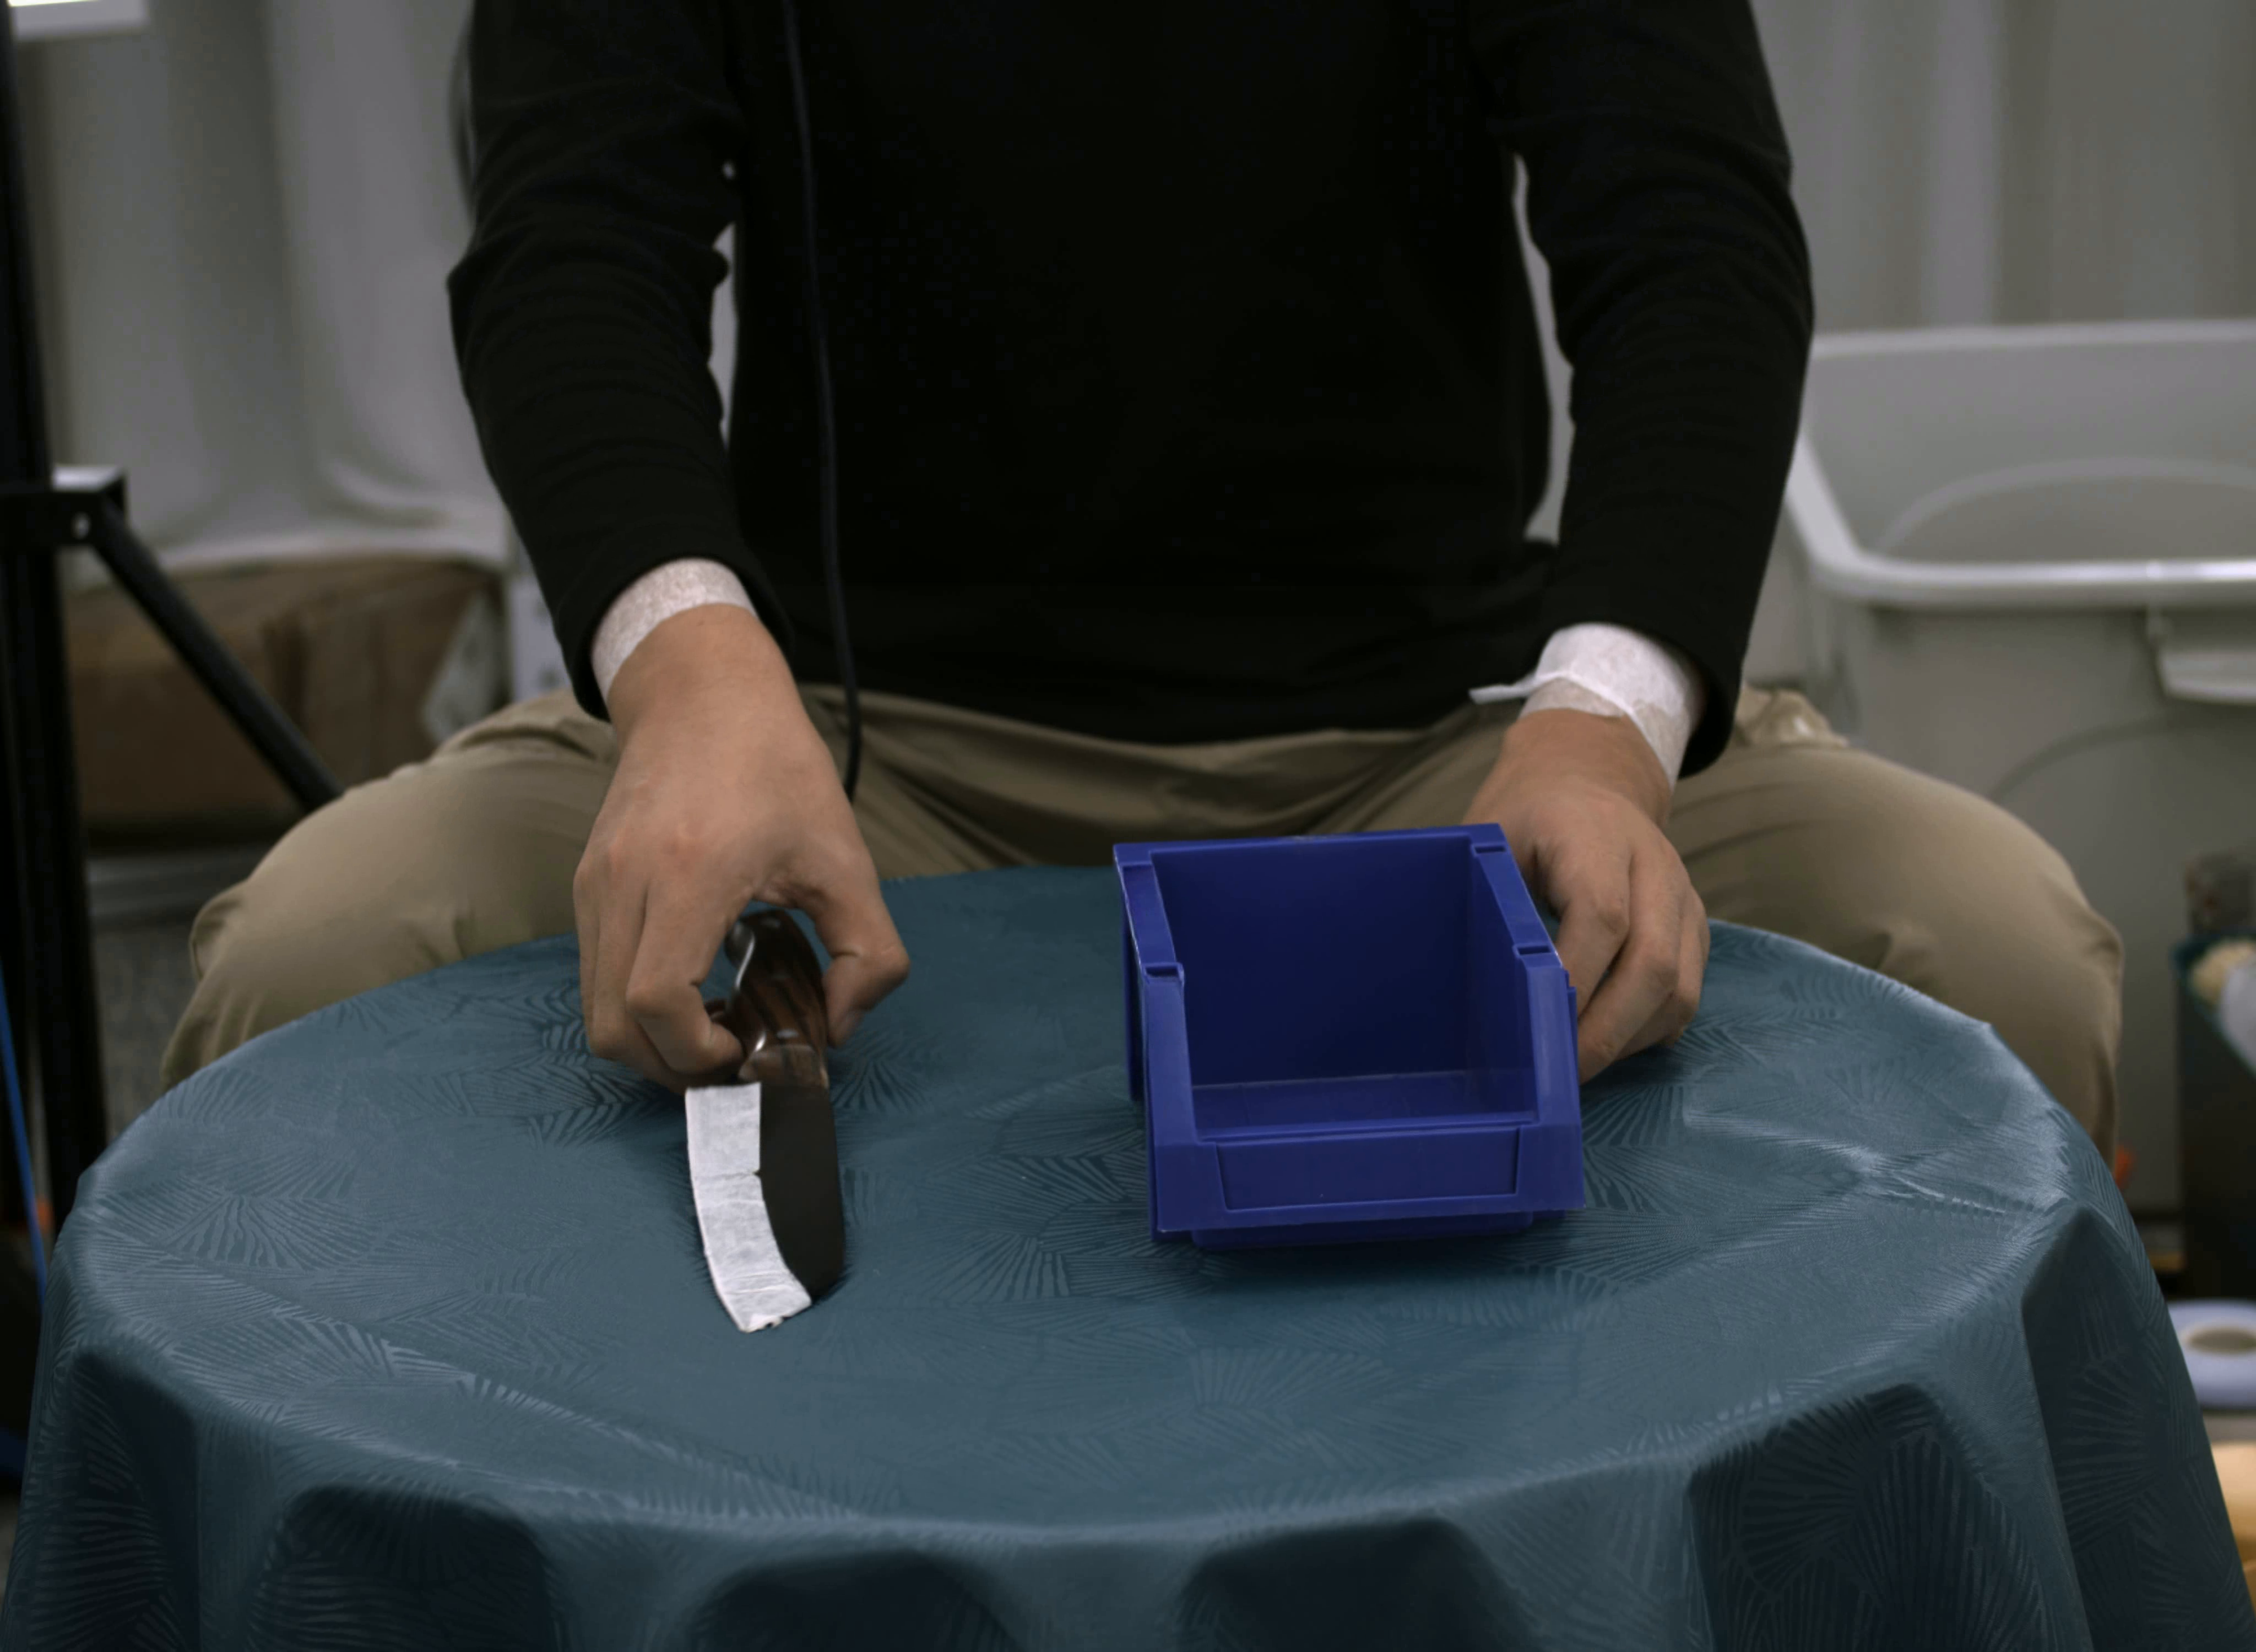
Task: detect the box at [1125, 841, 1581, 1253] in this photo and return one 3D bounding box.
[{"bbox_3d":[0.065,0.067,1.543,0.124,0.082,0.180,-2,13,-1],"label":"box"}]

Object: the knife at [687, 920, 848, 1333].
[{"bbox_3d":[-0.107,0.089,1.597,0.050,0.020,0.291,-7,21,0],"label":"knife"}]
